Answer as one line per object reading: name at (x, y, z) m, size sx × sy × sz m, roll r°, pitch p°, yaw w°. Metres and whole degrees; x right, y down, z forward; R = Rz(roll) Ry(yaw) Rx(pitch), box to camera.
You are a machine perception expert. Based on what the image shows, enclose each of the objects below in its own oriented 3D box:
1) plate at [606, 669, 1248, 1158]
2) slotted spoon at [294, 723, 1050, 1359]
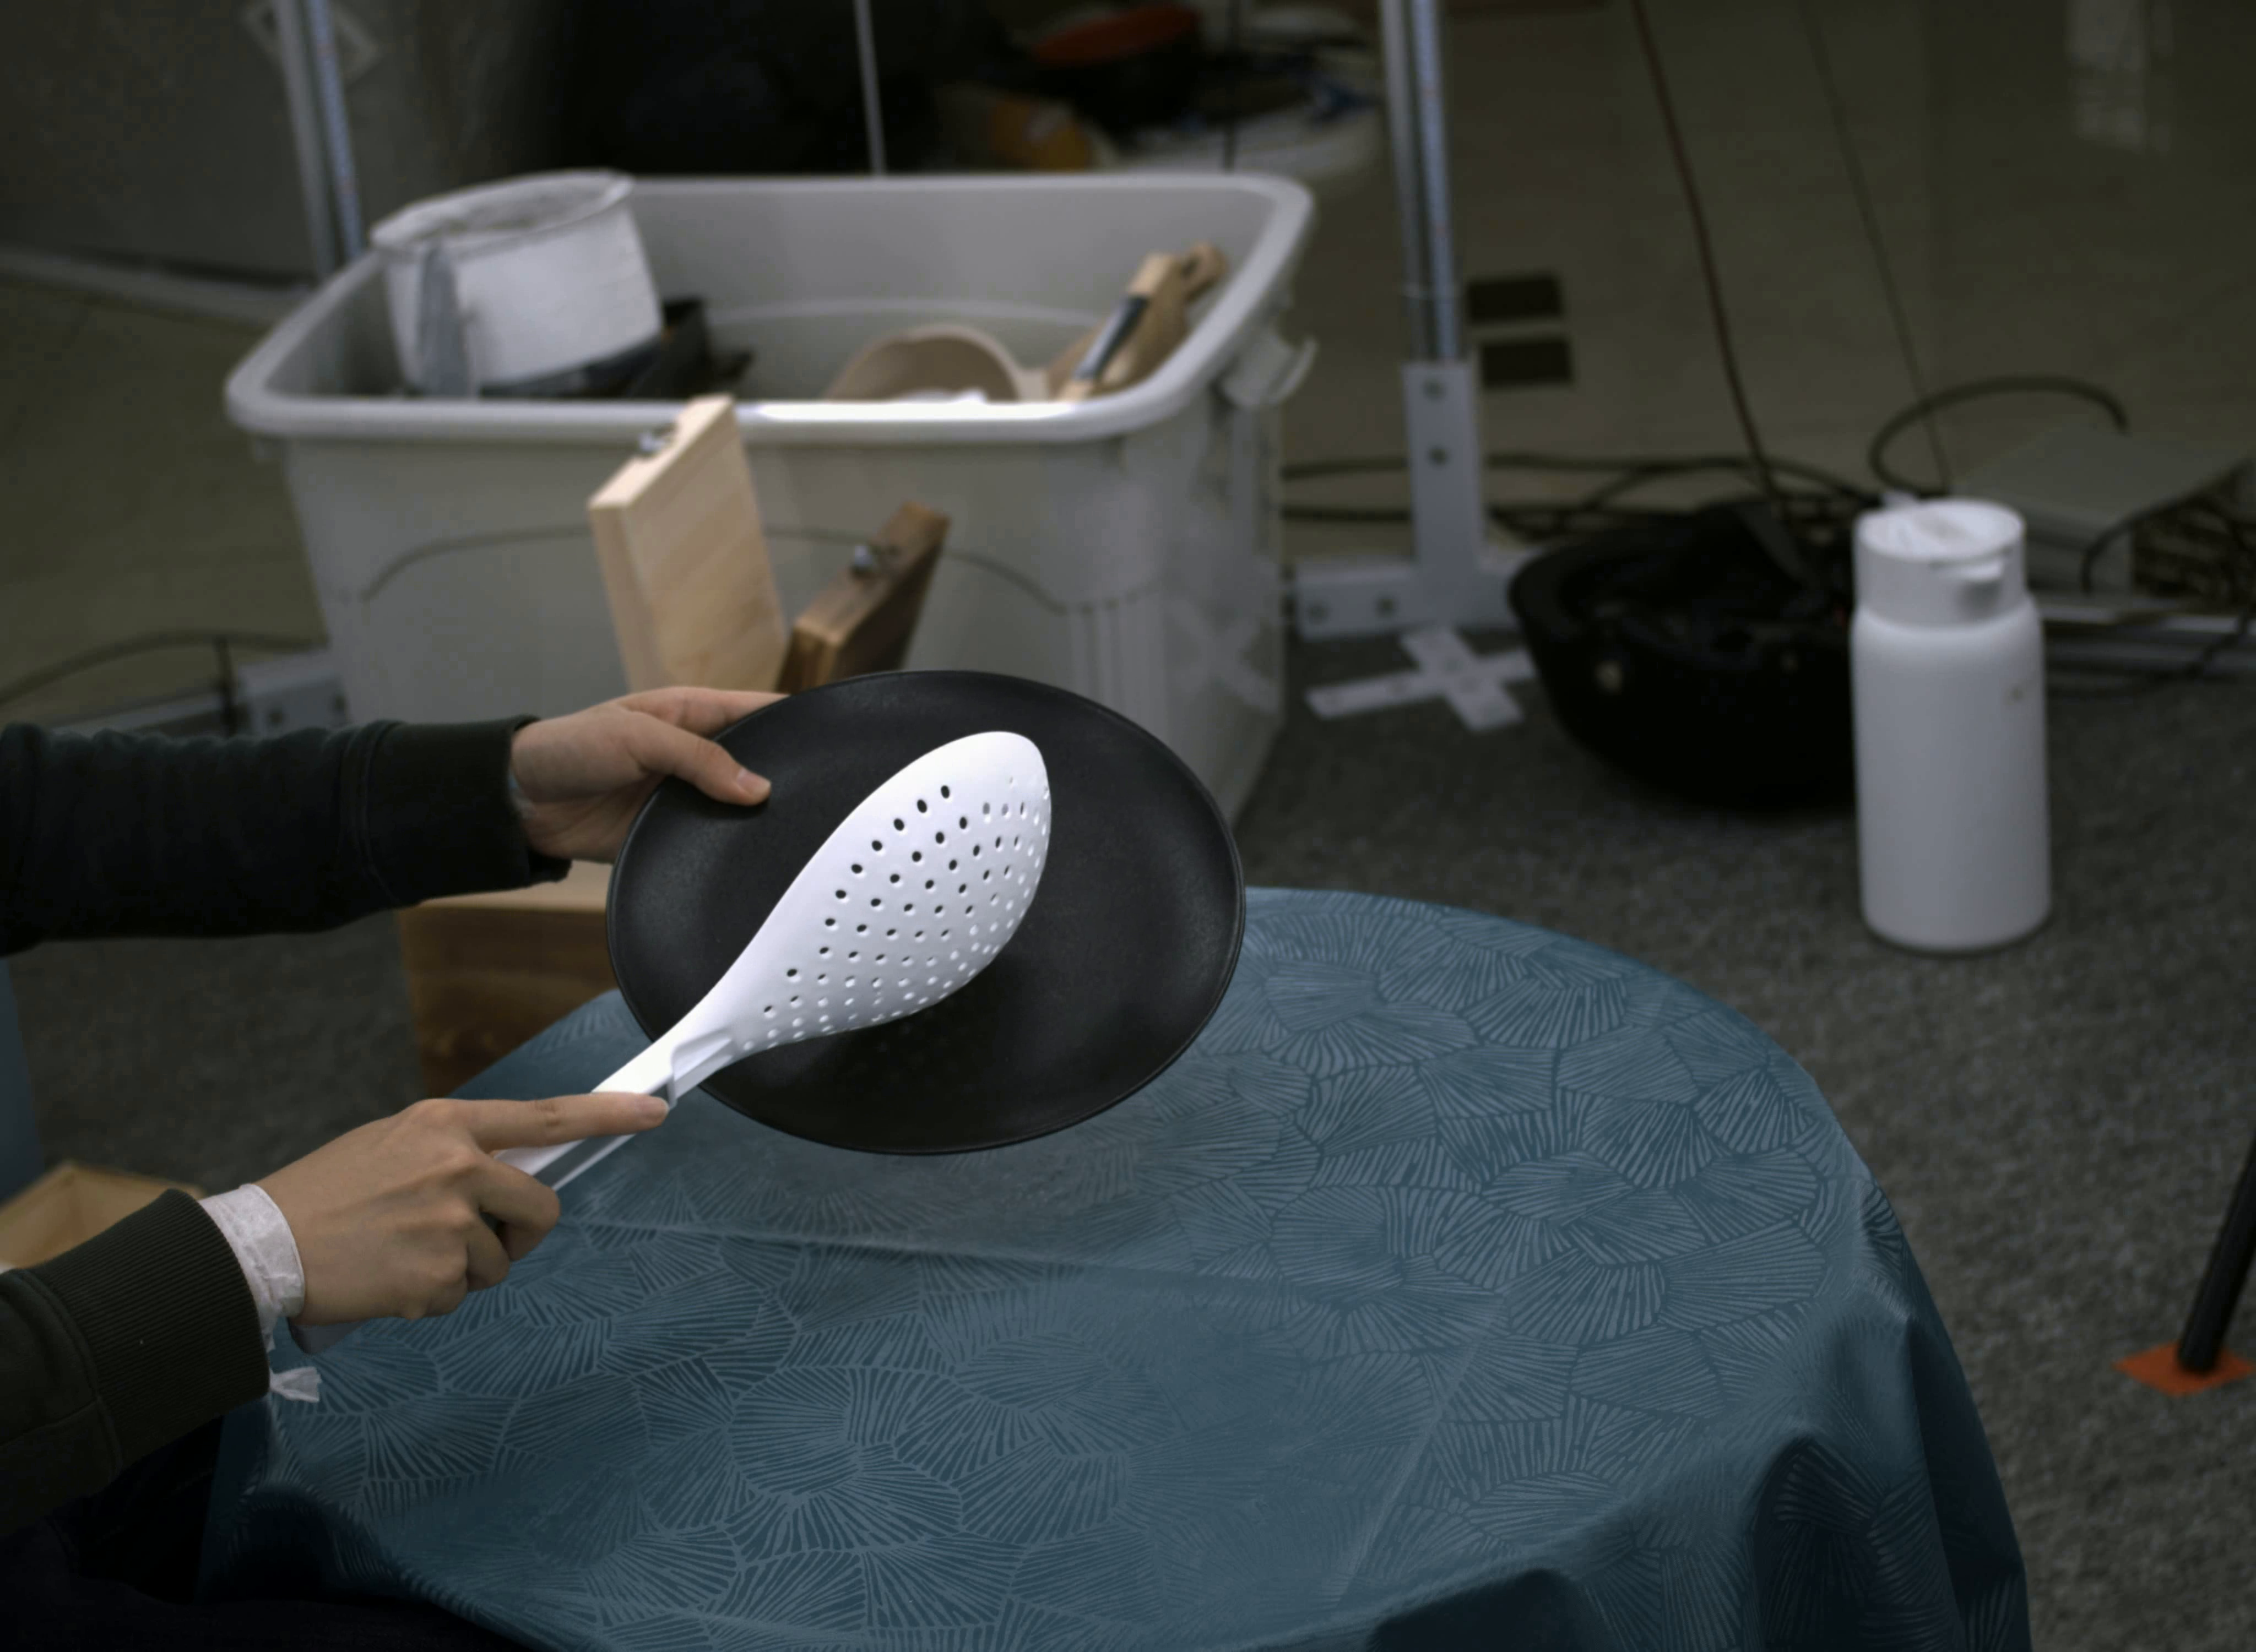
plate at (-0.076, 0.036, 2.157) m, size 0.244 × 0.024 × 0.240 m, roll 0°, pitch 50°, yaw 0°
slotted spoon at (-0.157, 0.082, 2.041) m, size 0.347 × 0.138 × 0.045 m, roll -32°, pitch 59°, yaw -19°
